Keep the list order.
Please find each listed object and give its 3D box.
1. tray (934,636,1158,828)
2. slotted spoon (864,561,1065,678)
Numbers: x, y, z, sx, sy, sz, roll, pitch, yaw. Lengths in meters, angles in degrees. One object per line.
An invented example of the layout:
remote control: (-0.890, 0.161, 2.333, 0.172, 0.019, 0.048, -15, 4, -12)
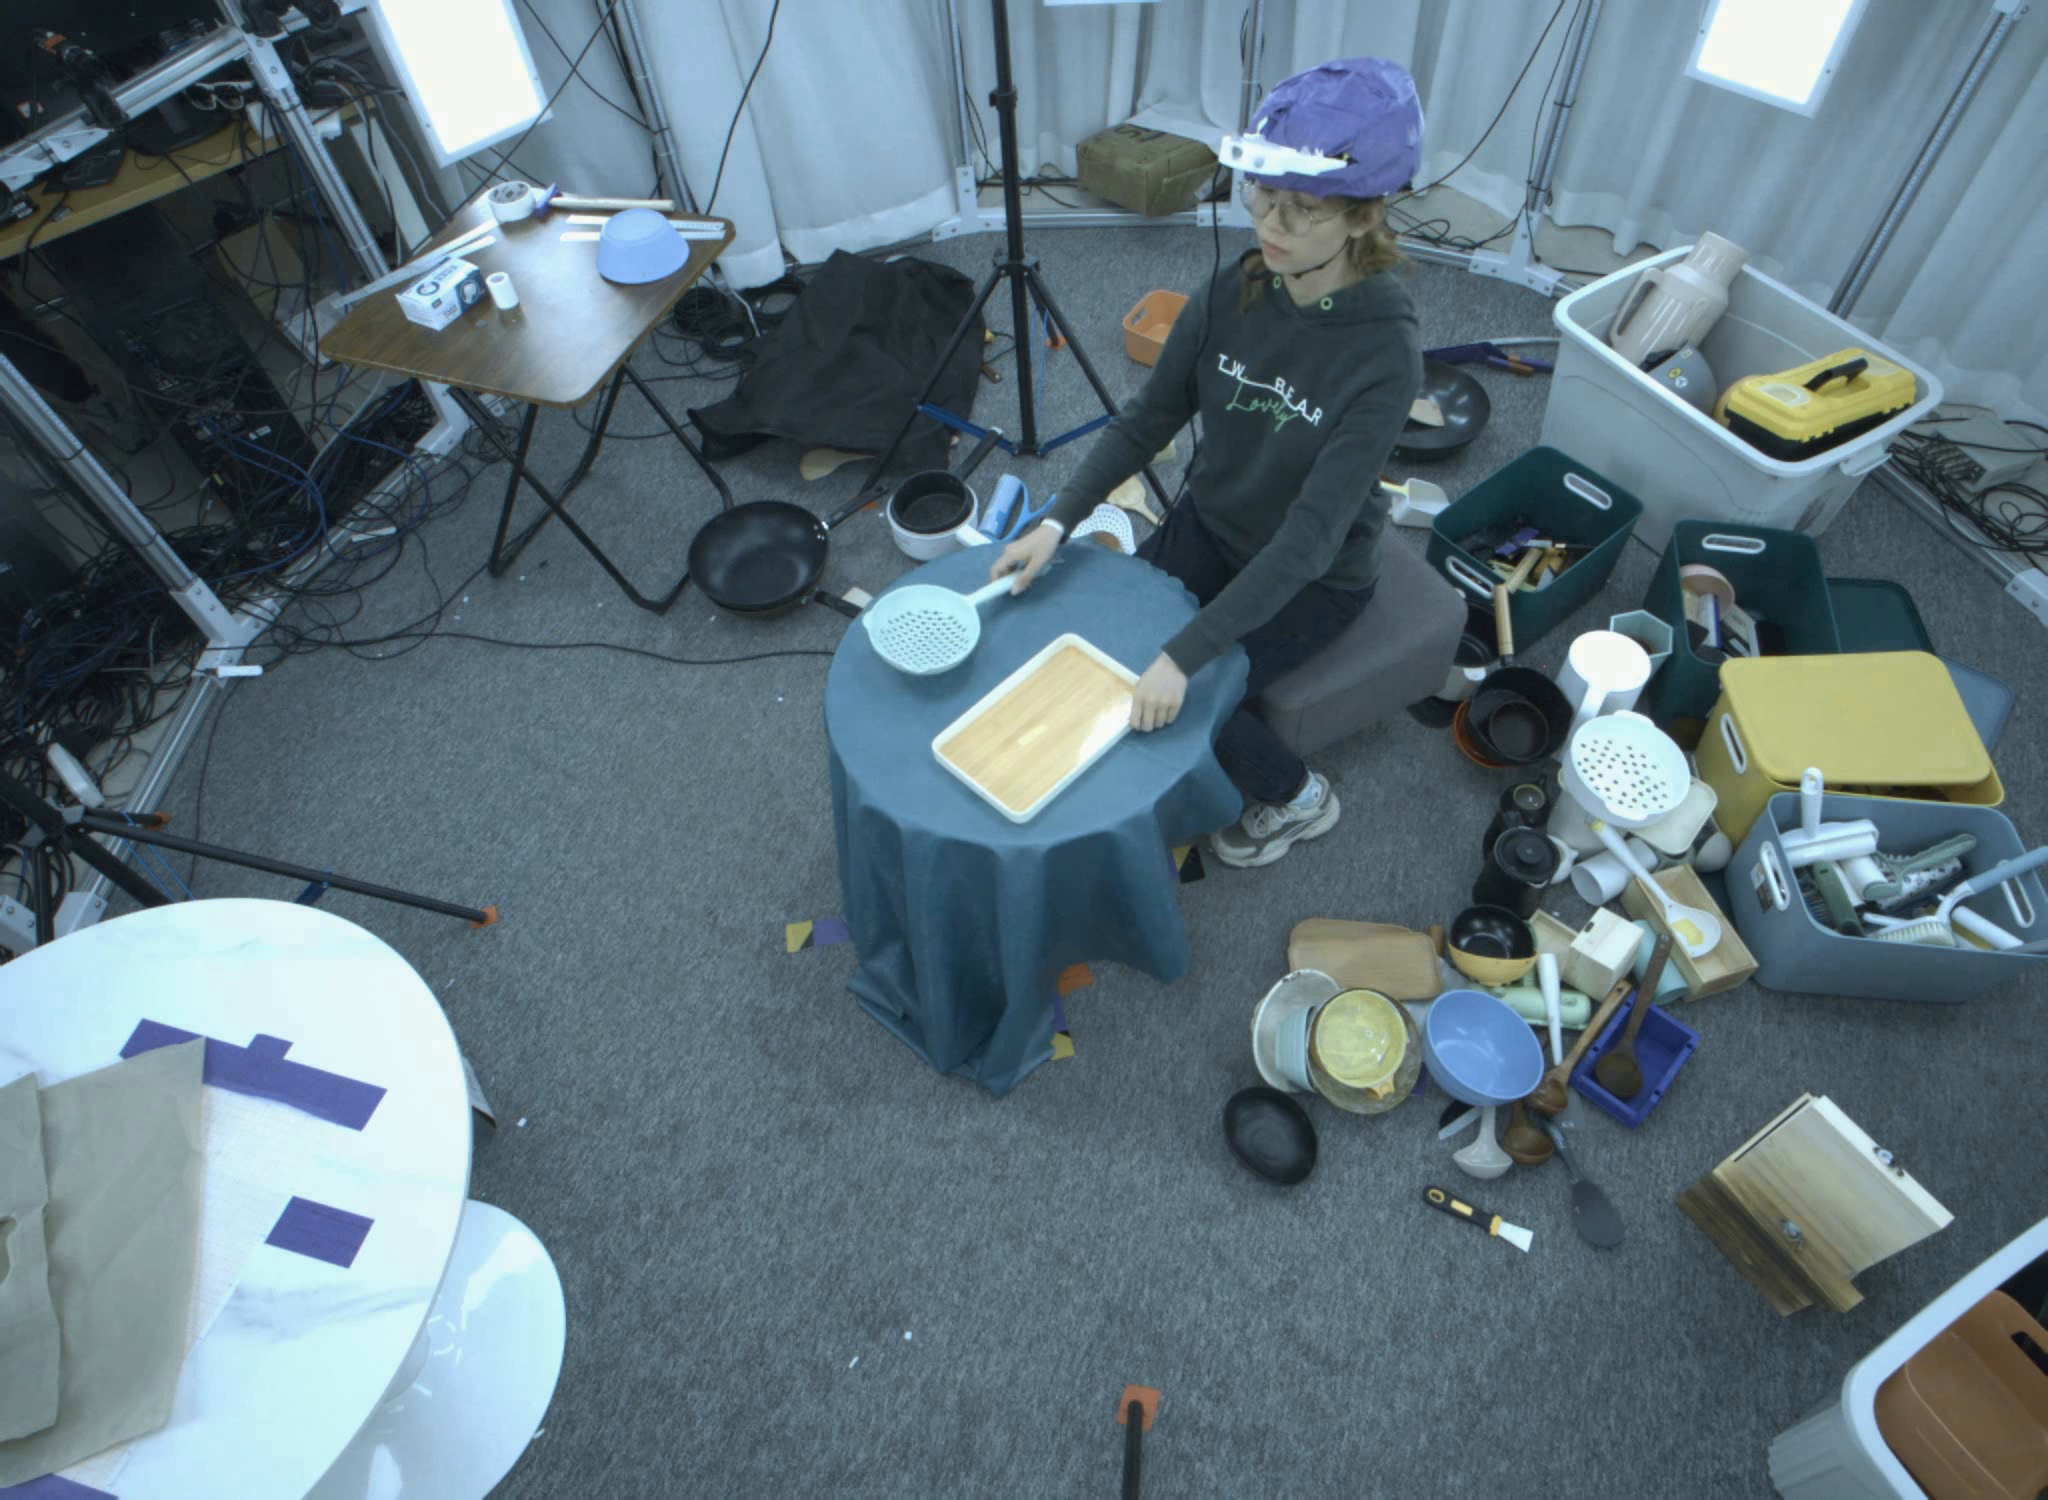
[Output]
tray: (0.034, -0.032, 1.804, 0.188, 0.028, 0.302, 38, 64, 25)
slotted spoon: (-0.077, -0.224, 1.916, 0.361, 0.076, 0.166, -36, 66, -20)
